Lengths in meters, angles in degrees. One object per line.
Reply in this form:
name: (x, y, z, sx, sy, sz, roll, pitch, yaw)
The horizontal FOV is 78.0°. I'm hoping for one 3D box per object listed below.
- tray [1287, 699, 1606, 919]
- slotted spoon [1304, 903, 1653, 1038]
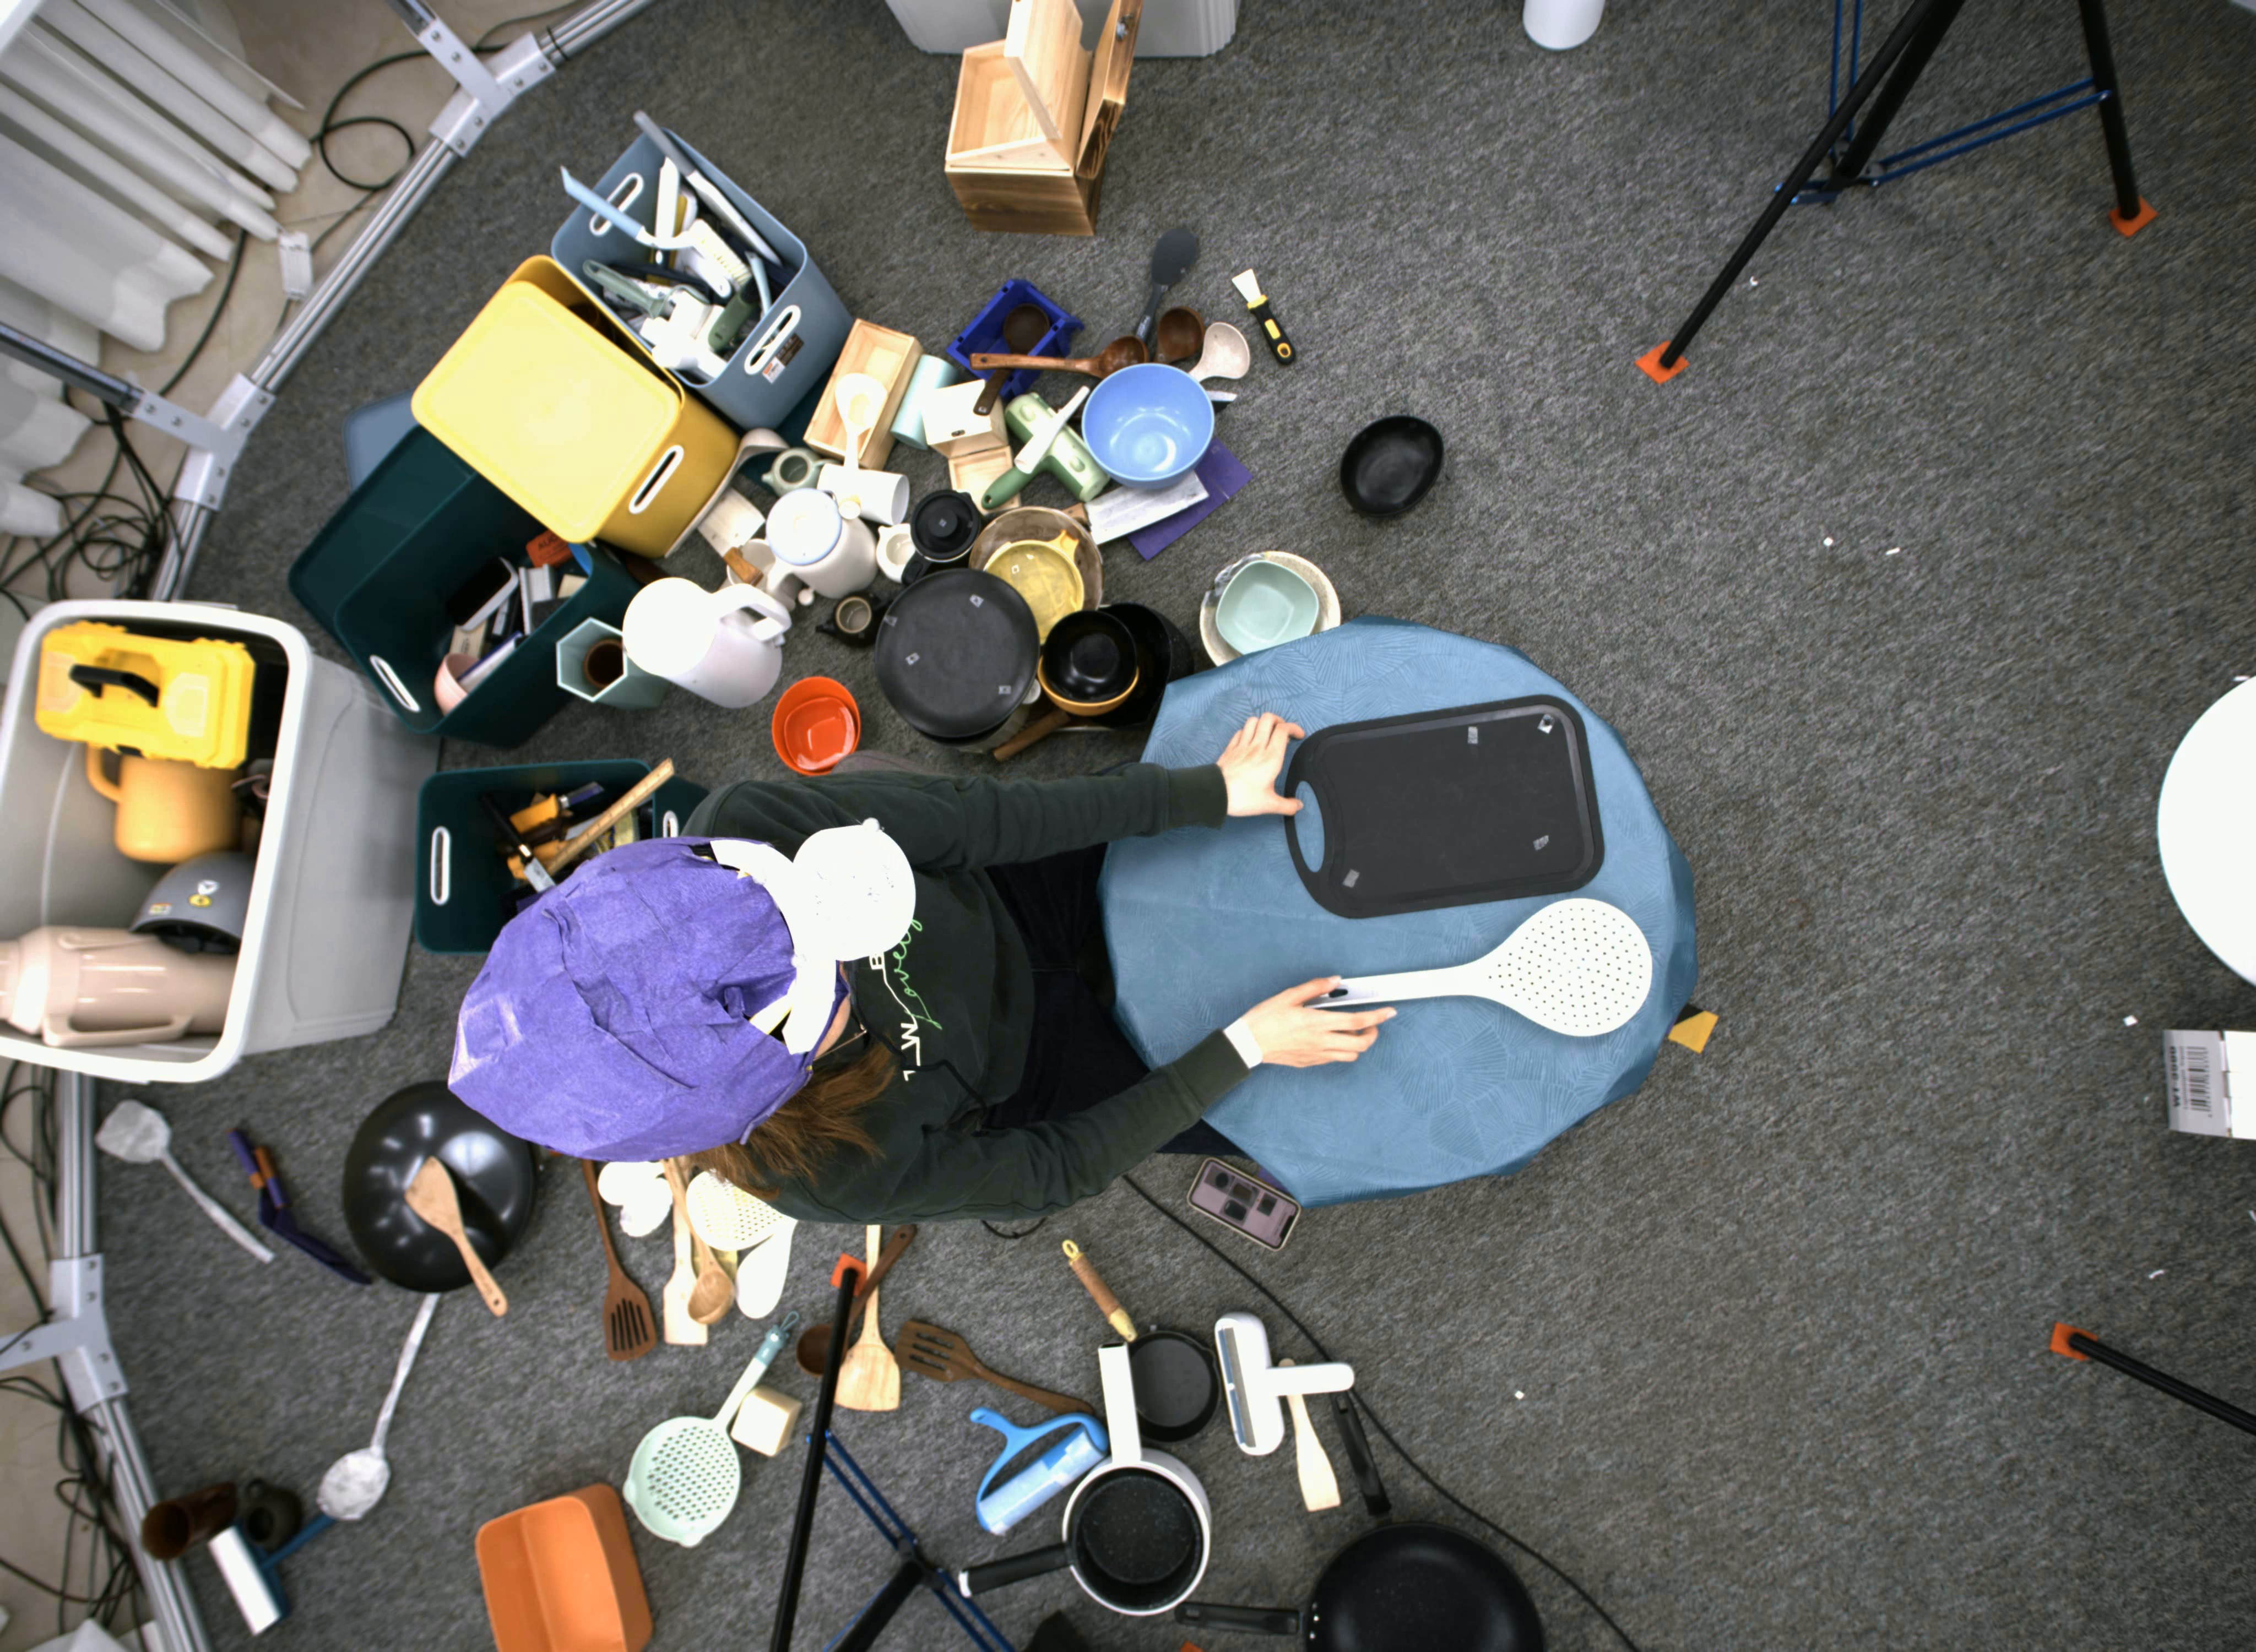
tray: (0.331, -0.018, 1.456, 0.327, 0.010, 0.210, -8, 84, 10)
slotted spoon: (0.356, 0.158, 1.420, 0.351, 0.046, 0.135, -7, 82, 11)
